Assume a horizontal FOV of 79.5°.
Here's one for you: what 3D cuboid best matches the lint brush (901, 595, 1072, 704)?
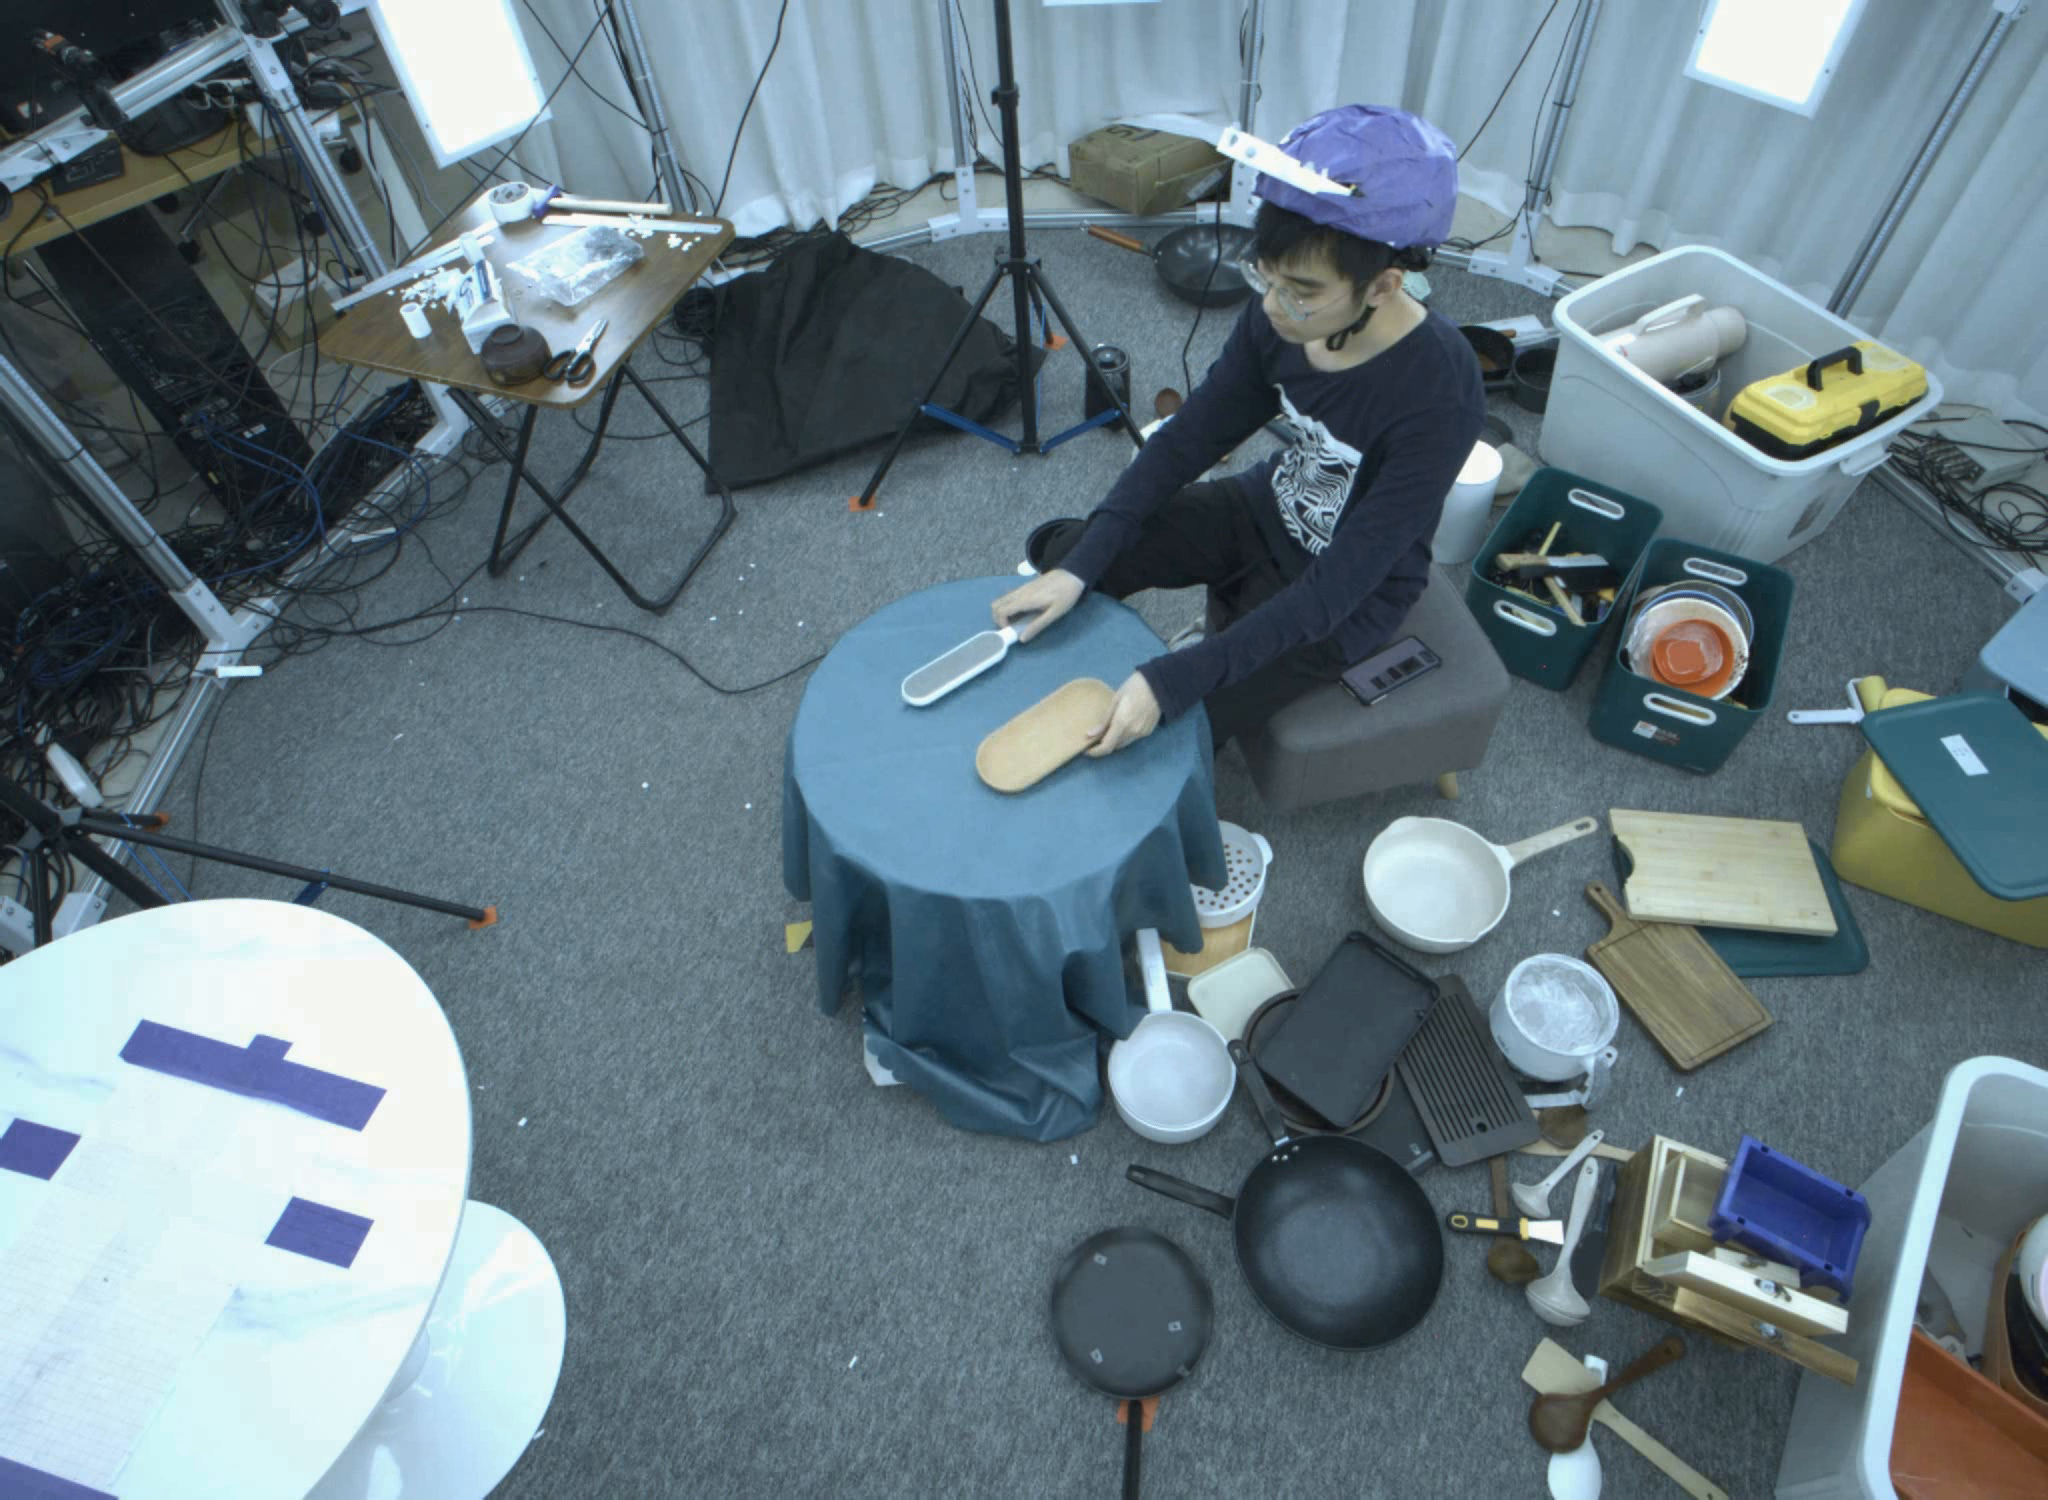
[{"bbox_3d":[-0.054,-0.157,1.881,0.311,0.021,0.059,-32,53,-16],"label":"lint brush"}]

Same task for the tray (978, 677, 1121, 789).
[{"bbox_3d":[0.038,-0.025,1.784,0.232,0.020,0.100,-33,65,-14],"label":"tray"}]
